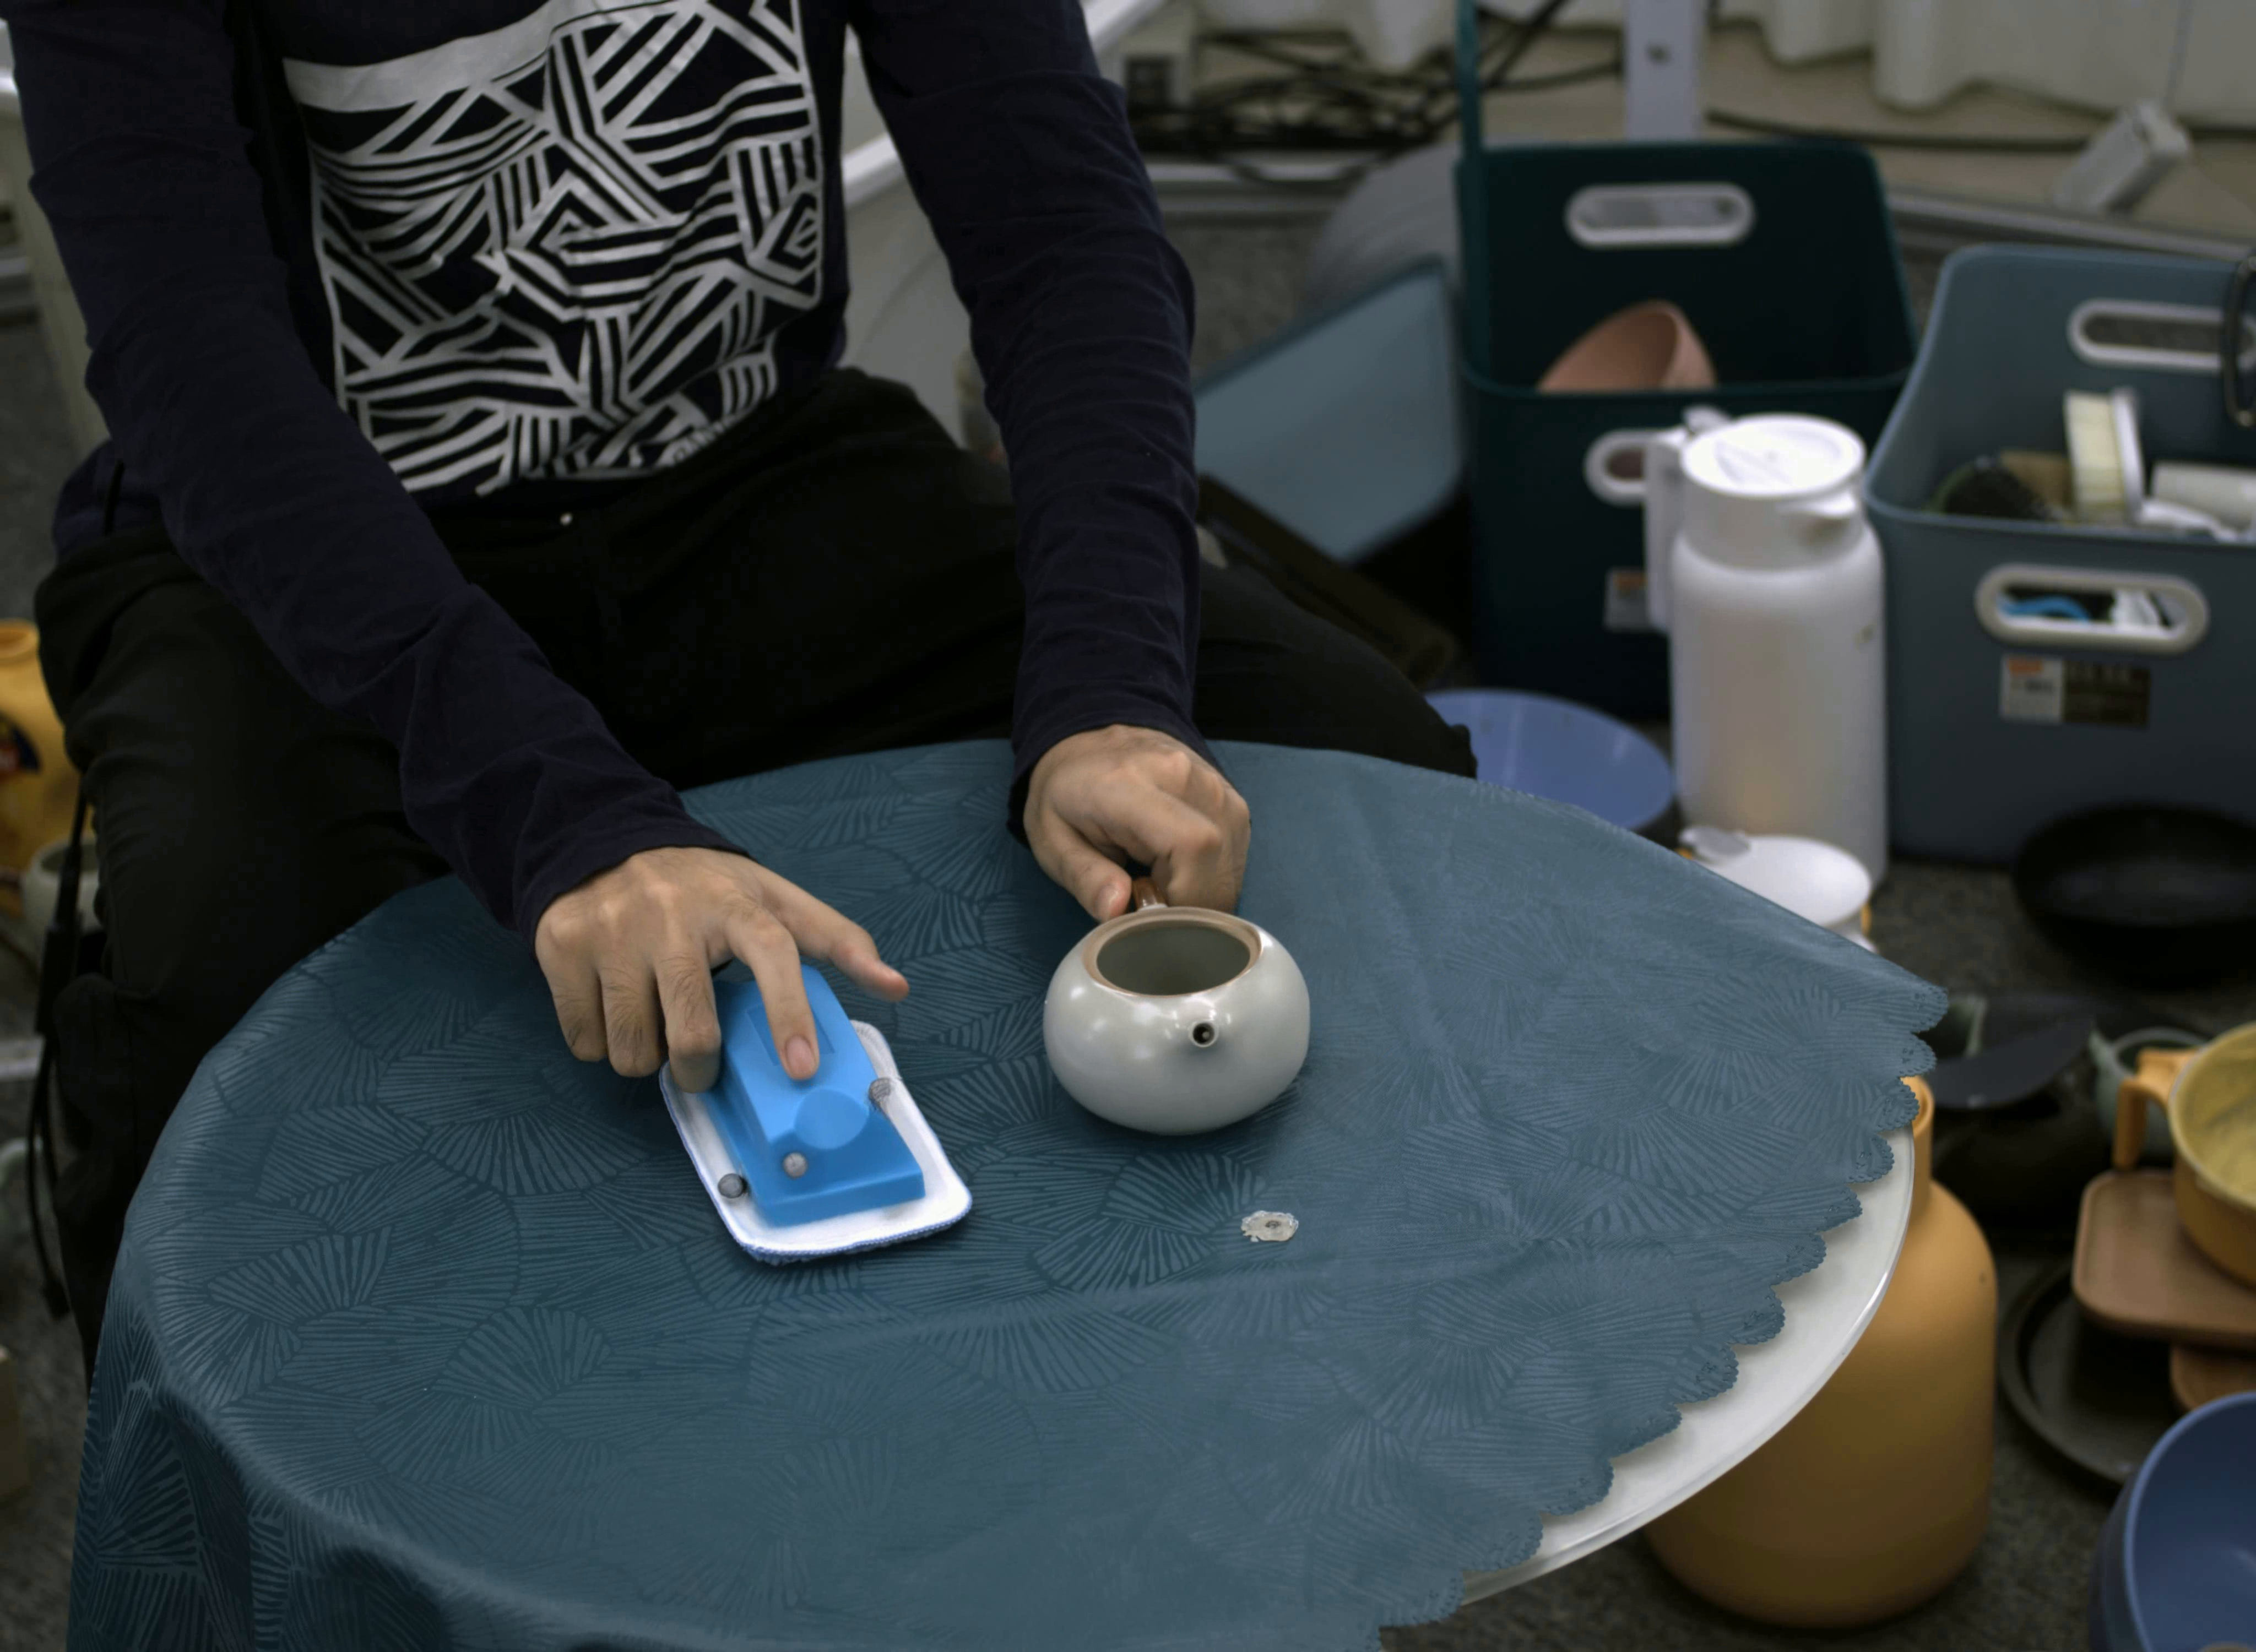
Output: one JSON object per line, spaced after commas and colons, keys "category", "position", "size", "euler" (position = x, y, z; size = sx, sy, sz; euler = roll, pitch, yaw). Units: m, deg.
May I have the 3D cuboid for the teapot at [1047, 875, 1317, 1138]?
{"category": "teapot", "position": [0.016, 0.062, 1.909], "size": [0.092, 0.059, 0.129], "euler": [-11, 30, -9]}

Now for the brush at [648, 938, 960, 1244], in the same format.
{"category": "brush", "position": [-0.107, 0.083, 1.871], "size": [0.084, 0.055, 0.146], "euler": [-5, 33, -17]}
